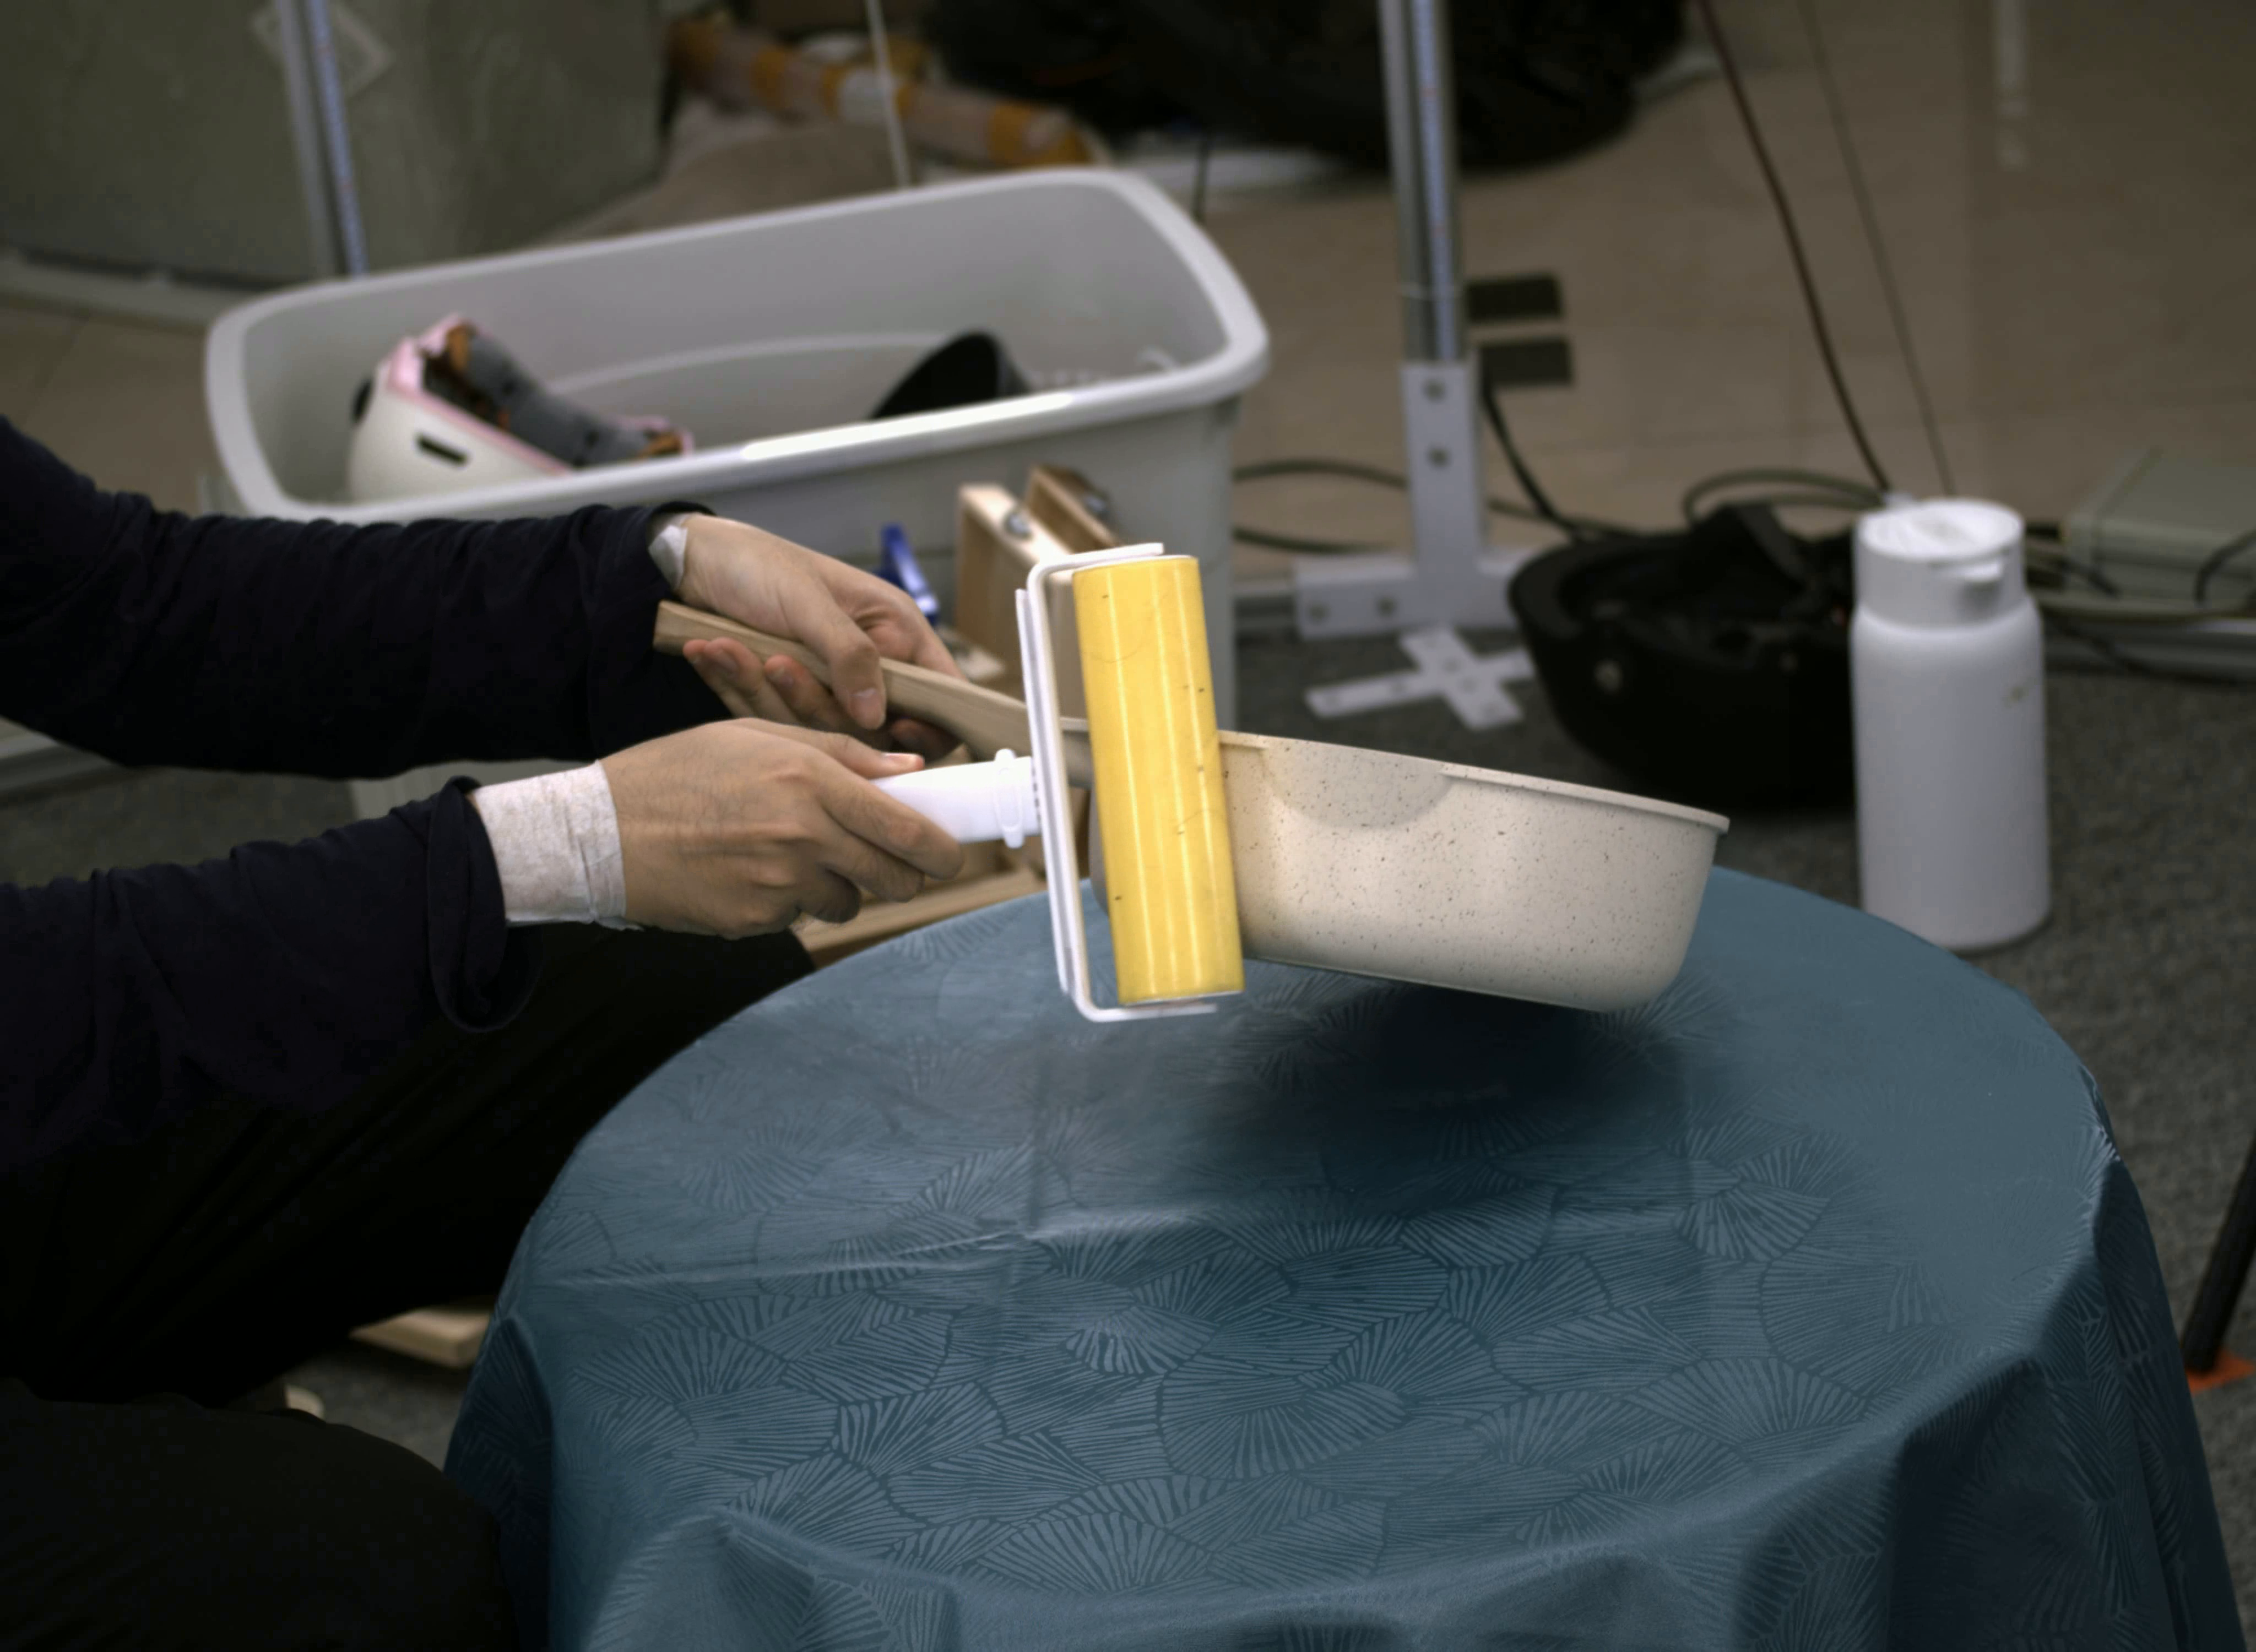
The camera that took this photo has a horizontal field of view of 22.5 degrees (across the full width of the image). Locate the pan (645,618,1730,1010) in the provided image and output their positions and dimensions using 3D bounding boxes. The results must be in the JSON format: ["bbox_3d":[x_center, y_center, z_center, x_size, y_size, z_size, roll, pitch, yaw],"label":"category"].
[{"bbox_3d":[0.014,-0.002,2.210,0.433,0.102,0.263,8,1,12],"label":"pan"}]

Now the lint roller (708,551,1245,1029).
[{"bbox_3d":[-0.062,-0.004,2.081,0.192,0.174,0.051,-7,-1,2],"label":"lint roller"}]
